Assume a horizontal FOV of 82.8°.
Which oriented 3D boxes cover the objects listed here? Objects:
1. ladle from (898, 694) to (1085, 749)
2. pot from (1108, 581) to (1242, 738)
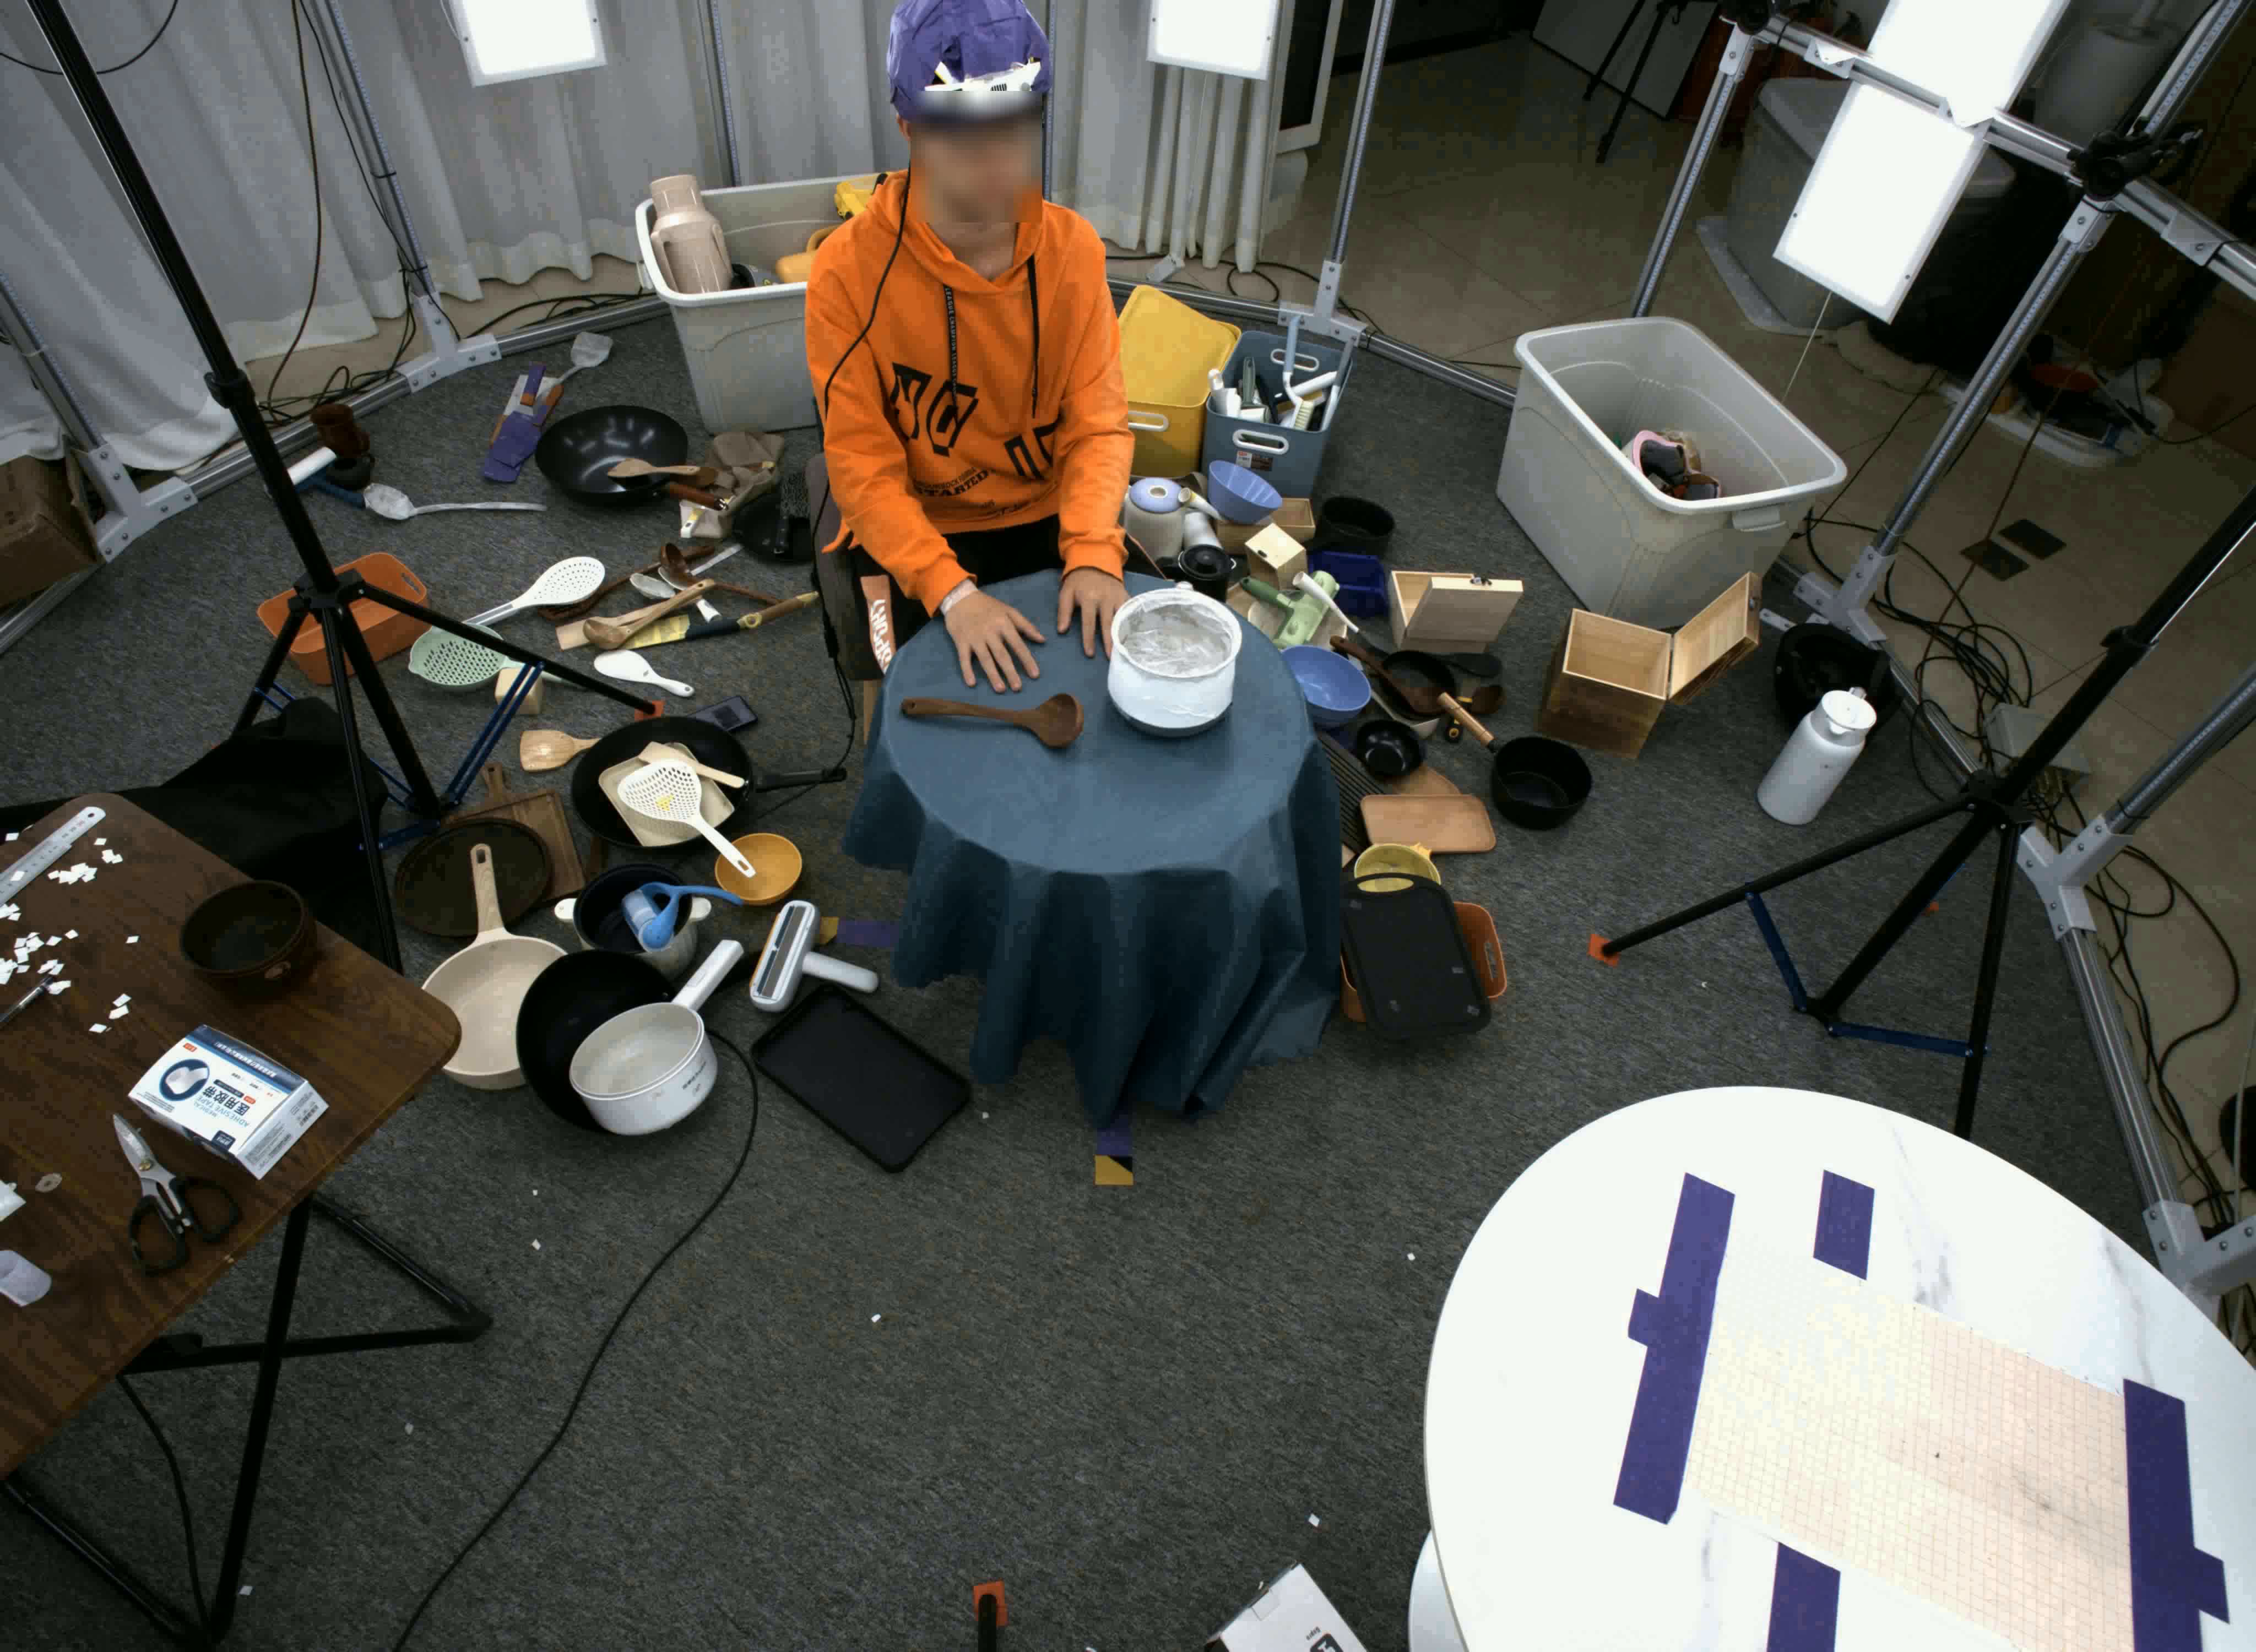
[{"bbox_3d":[-0.188,-0.155,1.752,0.260,0.064,0.077,8,74,2],"label":"ladle"},{"bbox_3d":[0.065,-0.242,1.795,0.179,0.133,0.239,7,49,2],"label":"pot"}]
